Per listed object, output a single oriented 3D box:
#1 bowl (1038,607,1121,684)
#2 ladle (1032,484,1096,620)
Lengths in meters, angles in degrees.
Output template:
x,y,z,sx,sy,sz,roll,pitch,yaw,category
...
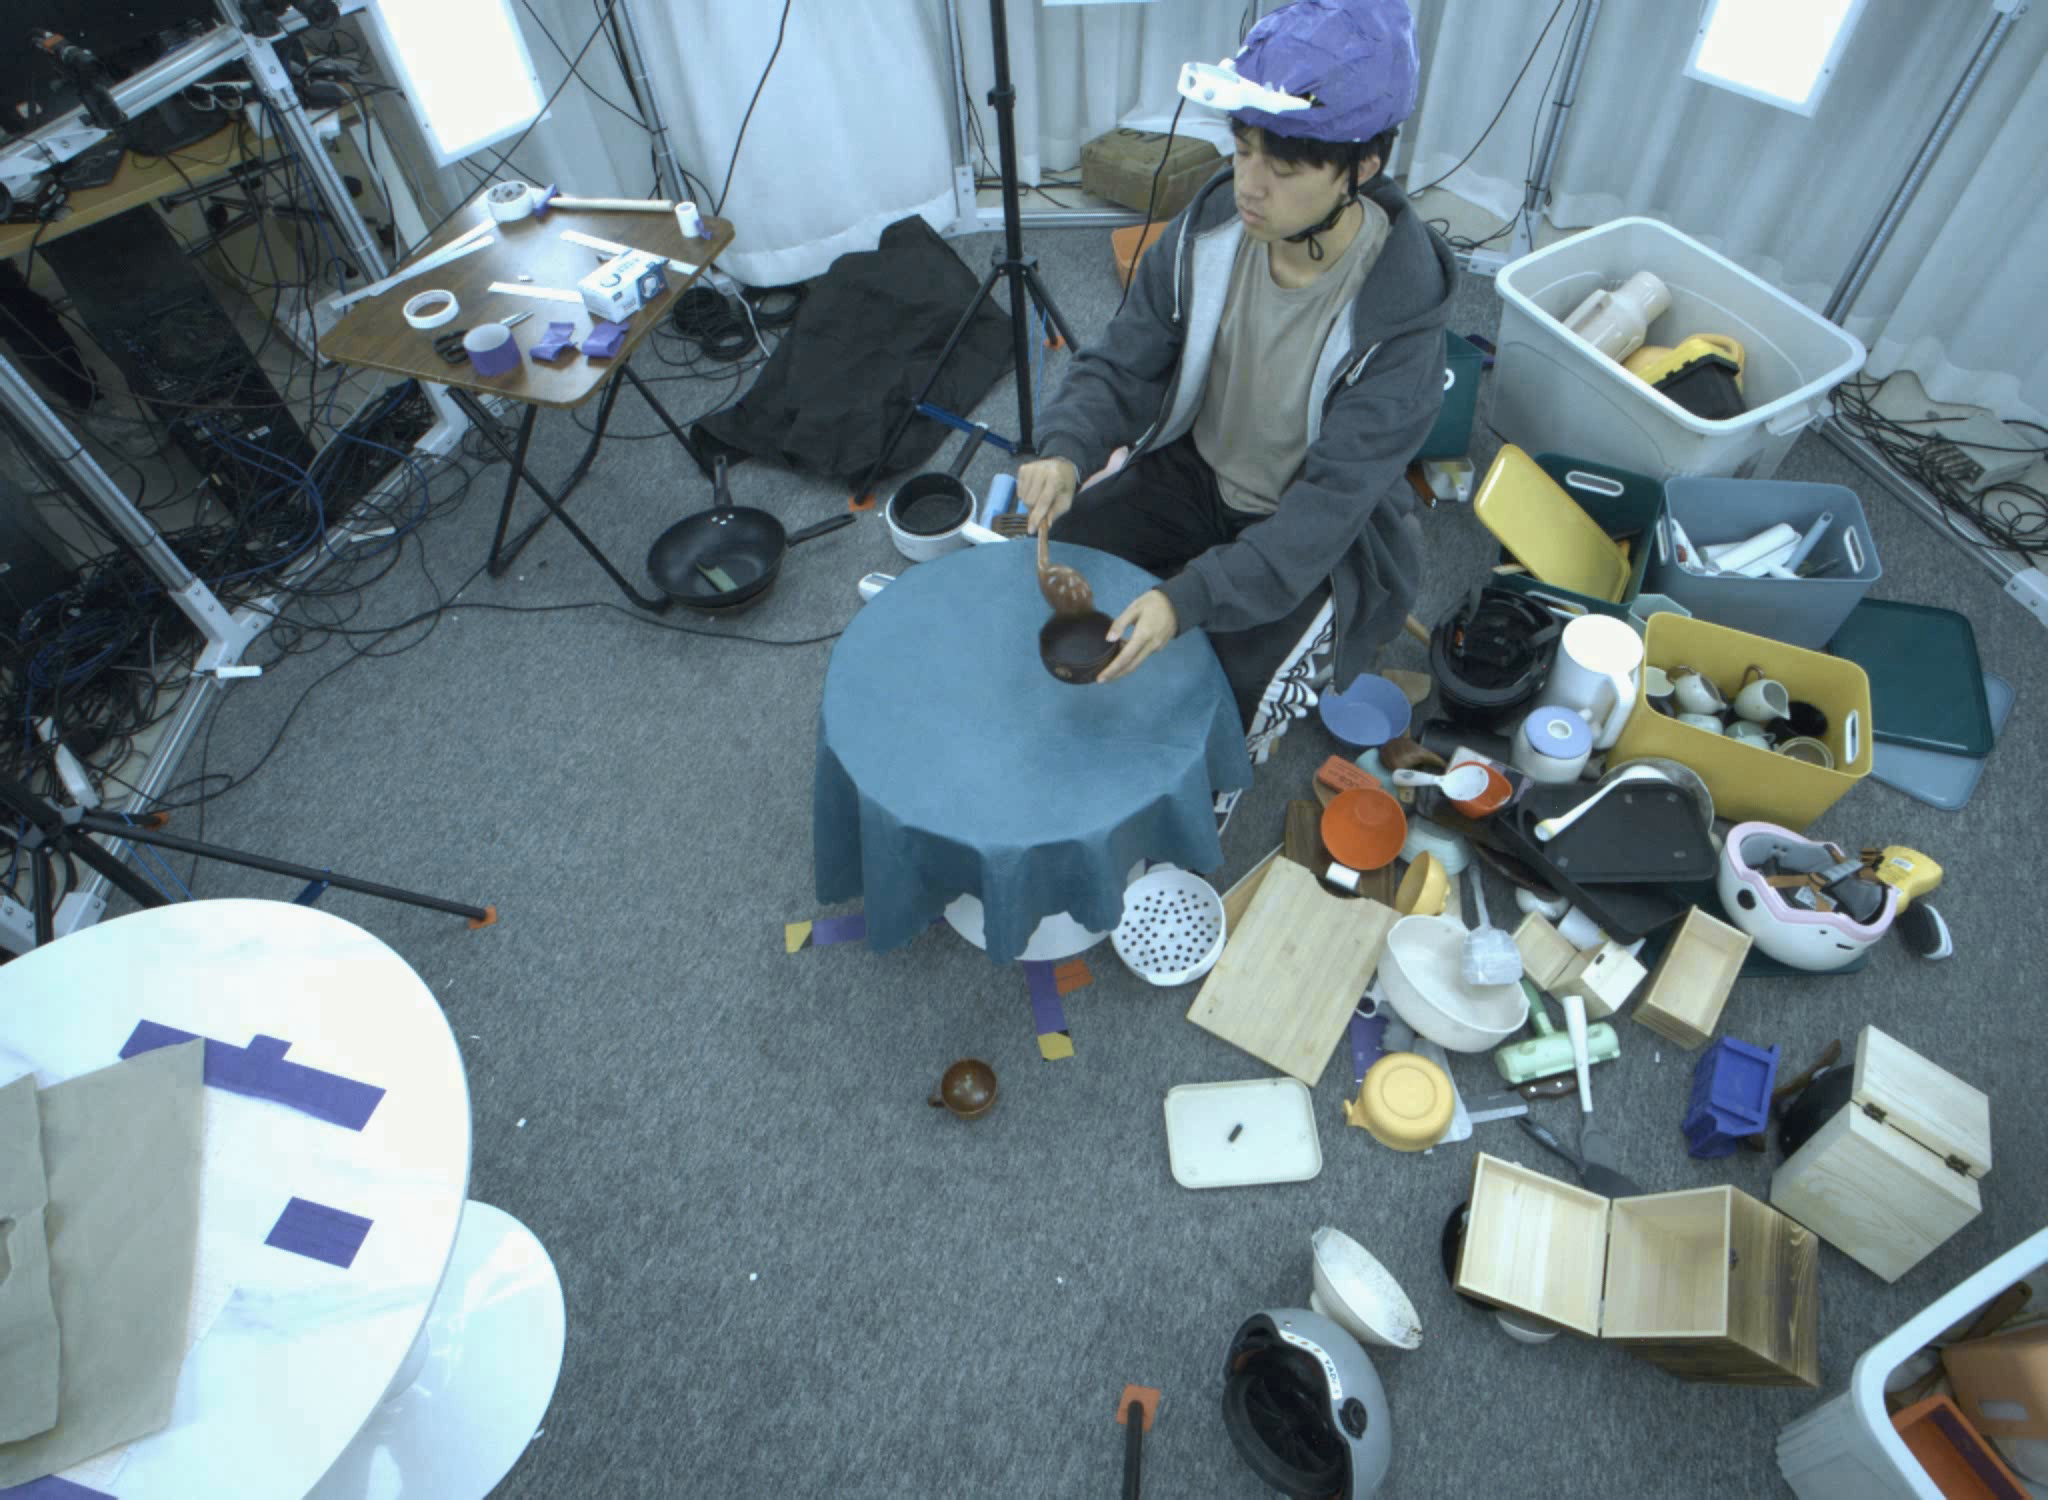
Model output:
x,y,z,sx,sy,sz,roll,pitch,yaw,category
0.080,-0.140,1.750,0.117,0.071,0.117,-3,50,5,bowl
0.054,-0.293,1.744,0.077,0.082,0.270,2,49,-5,ladle
